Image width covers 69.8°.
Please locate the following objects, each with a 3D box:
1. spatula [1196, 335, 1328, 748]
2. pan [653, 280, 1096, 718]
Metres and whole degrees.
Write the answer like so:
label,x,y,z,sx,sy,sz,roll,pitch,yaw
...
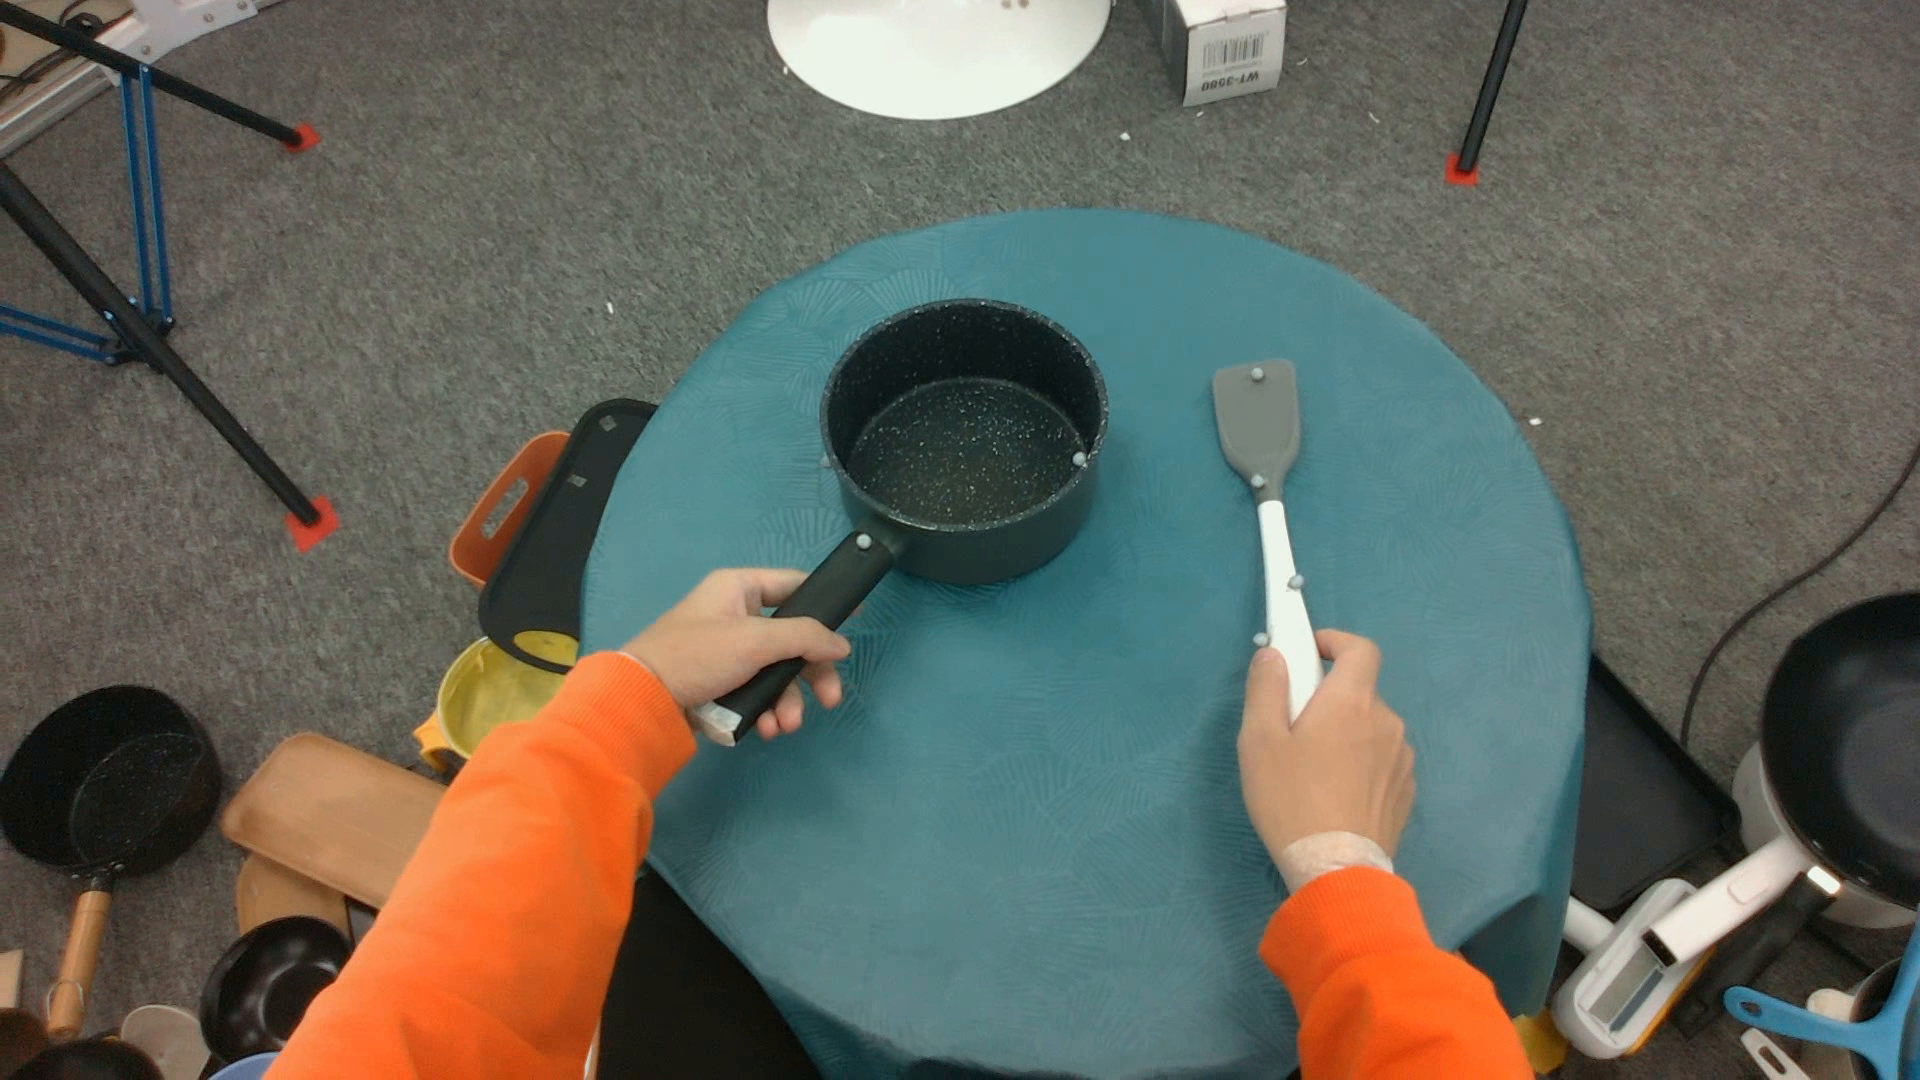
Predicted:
label,x,y,z,sx,sy,sz,roll,pitch,yaw
spatula,0.180,-0.011,0.814,0.058,0.032,0.289,-13,50,17
pan,-0.050,-0.013,0.802,0.172,0.086,0.330,29,62,20
